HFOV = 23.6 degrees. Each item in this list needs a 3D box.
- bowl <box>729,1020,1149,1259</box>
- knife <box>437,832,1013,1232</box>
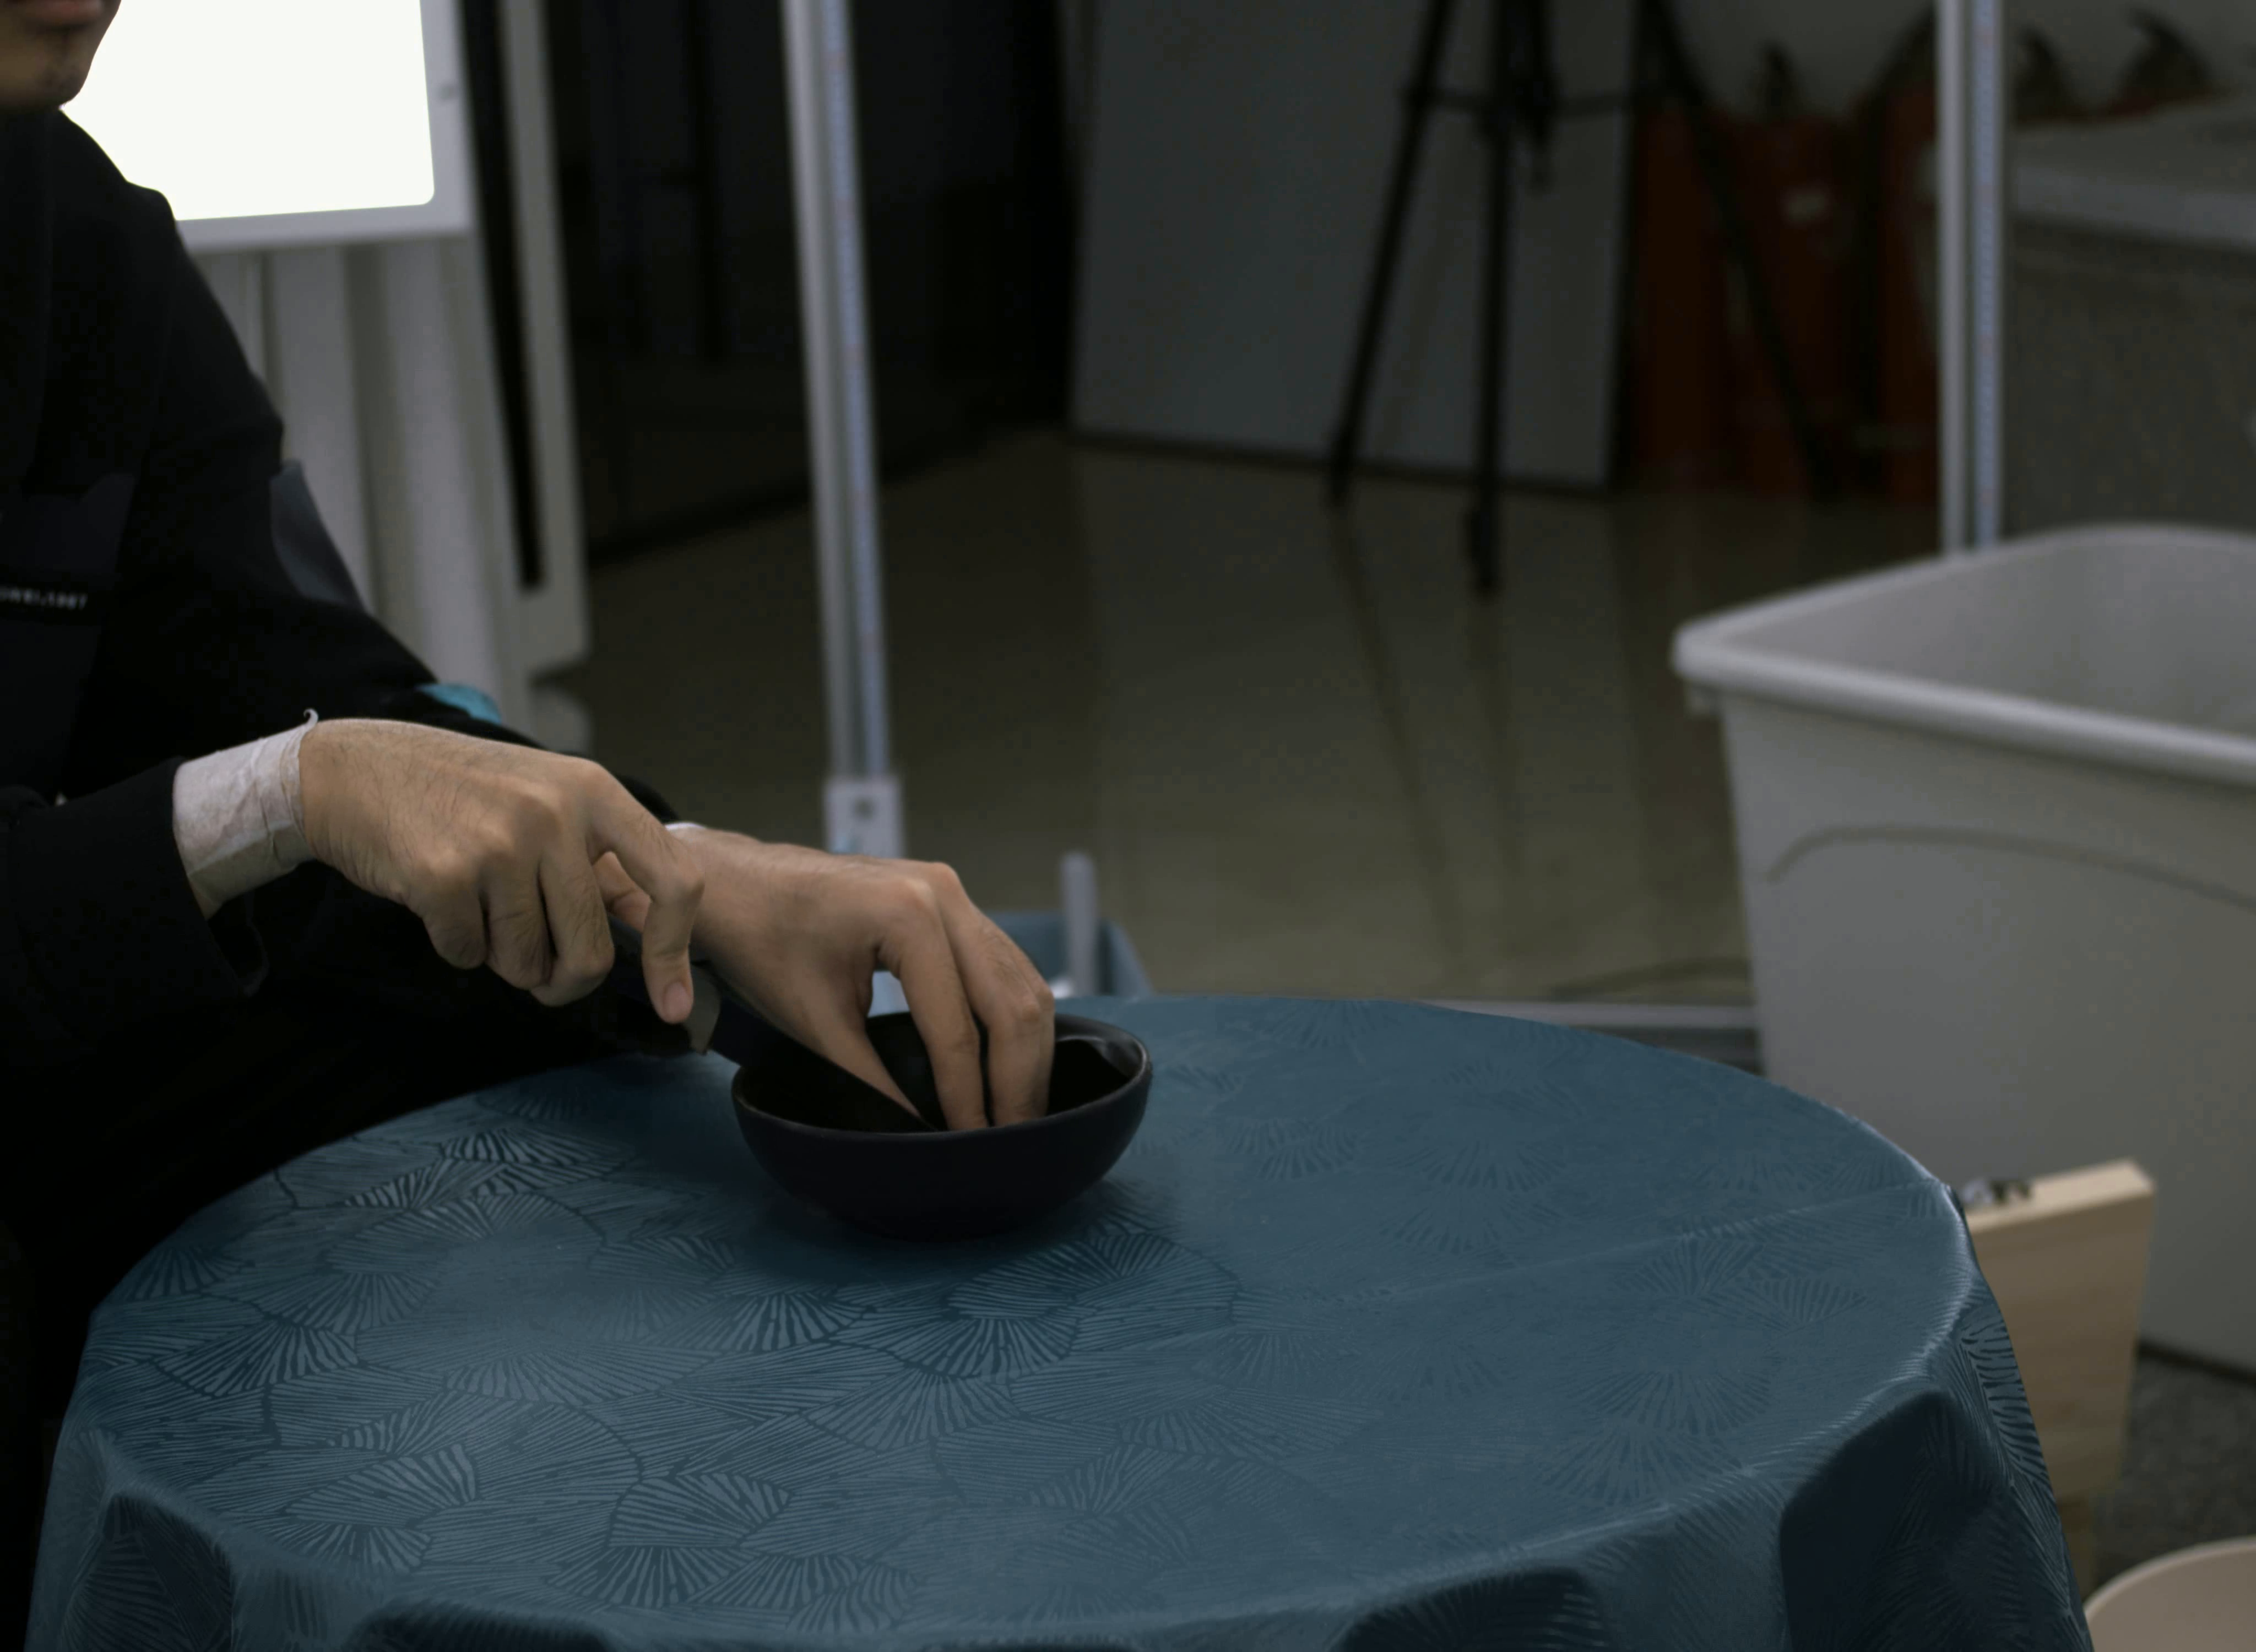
[{"bbox_3d":[-0.058,0.106,1.758,0.138,0.050,0.140,-8,13,1],"label":"bowl"},{"bbox_3d":[-0.129,0.068,1.756,0.224,0.026,0.017,32,28,3],"label":"knife"}]
